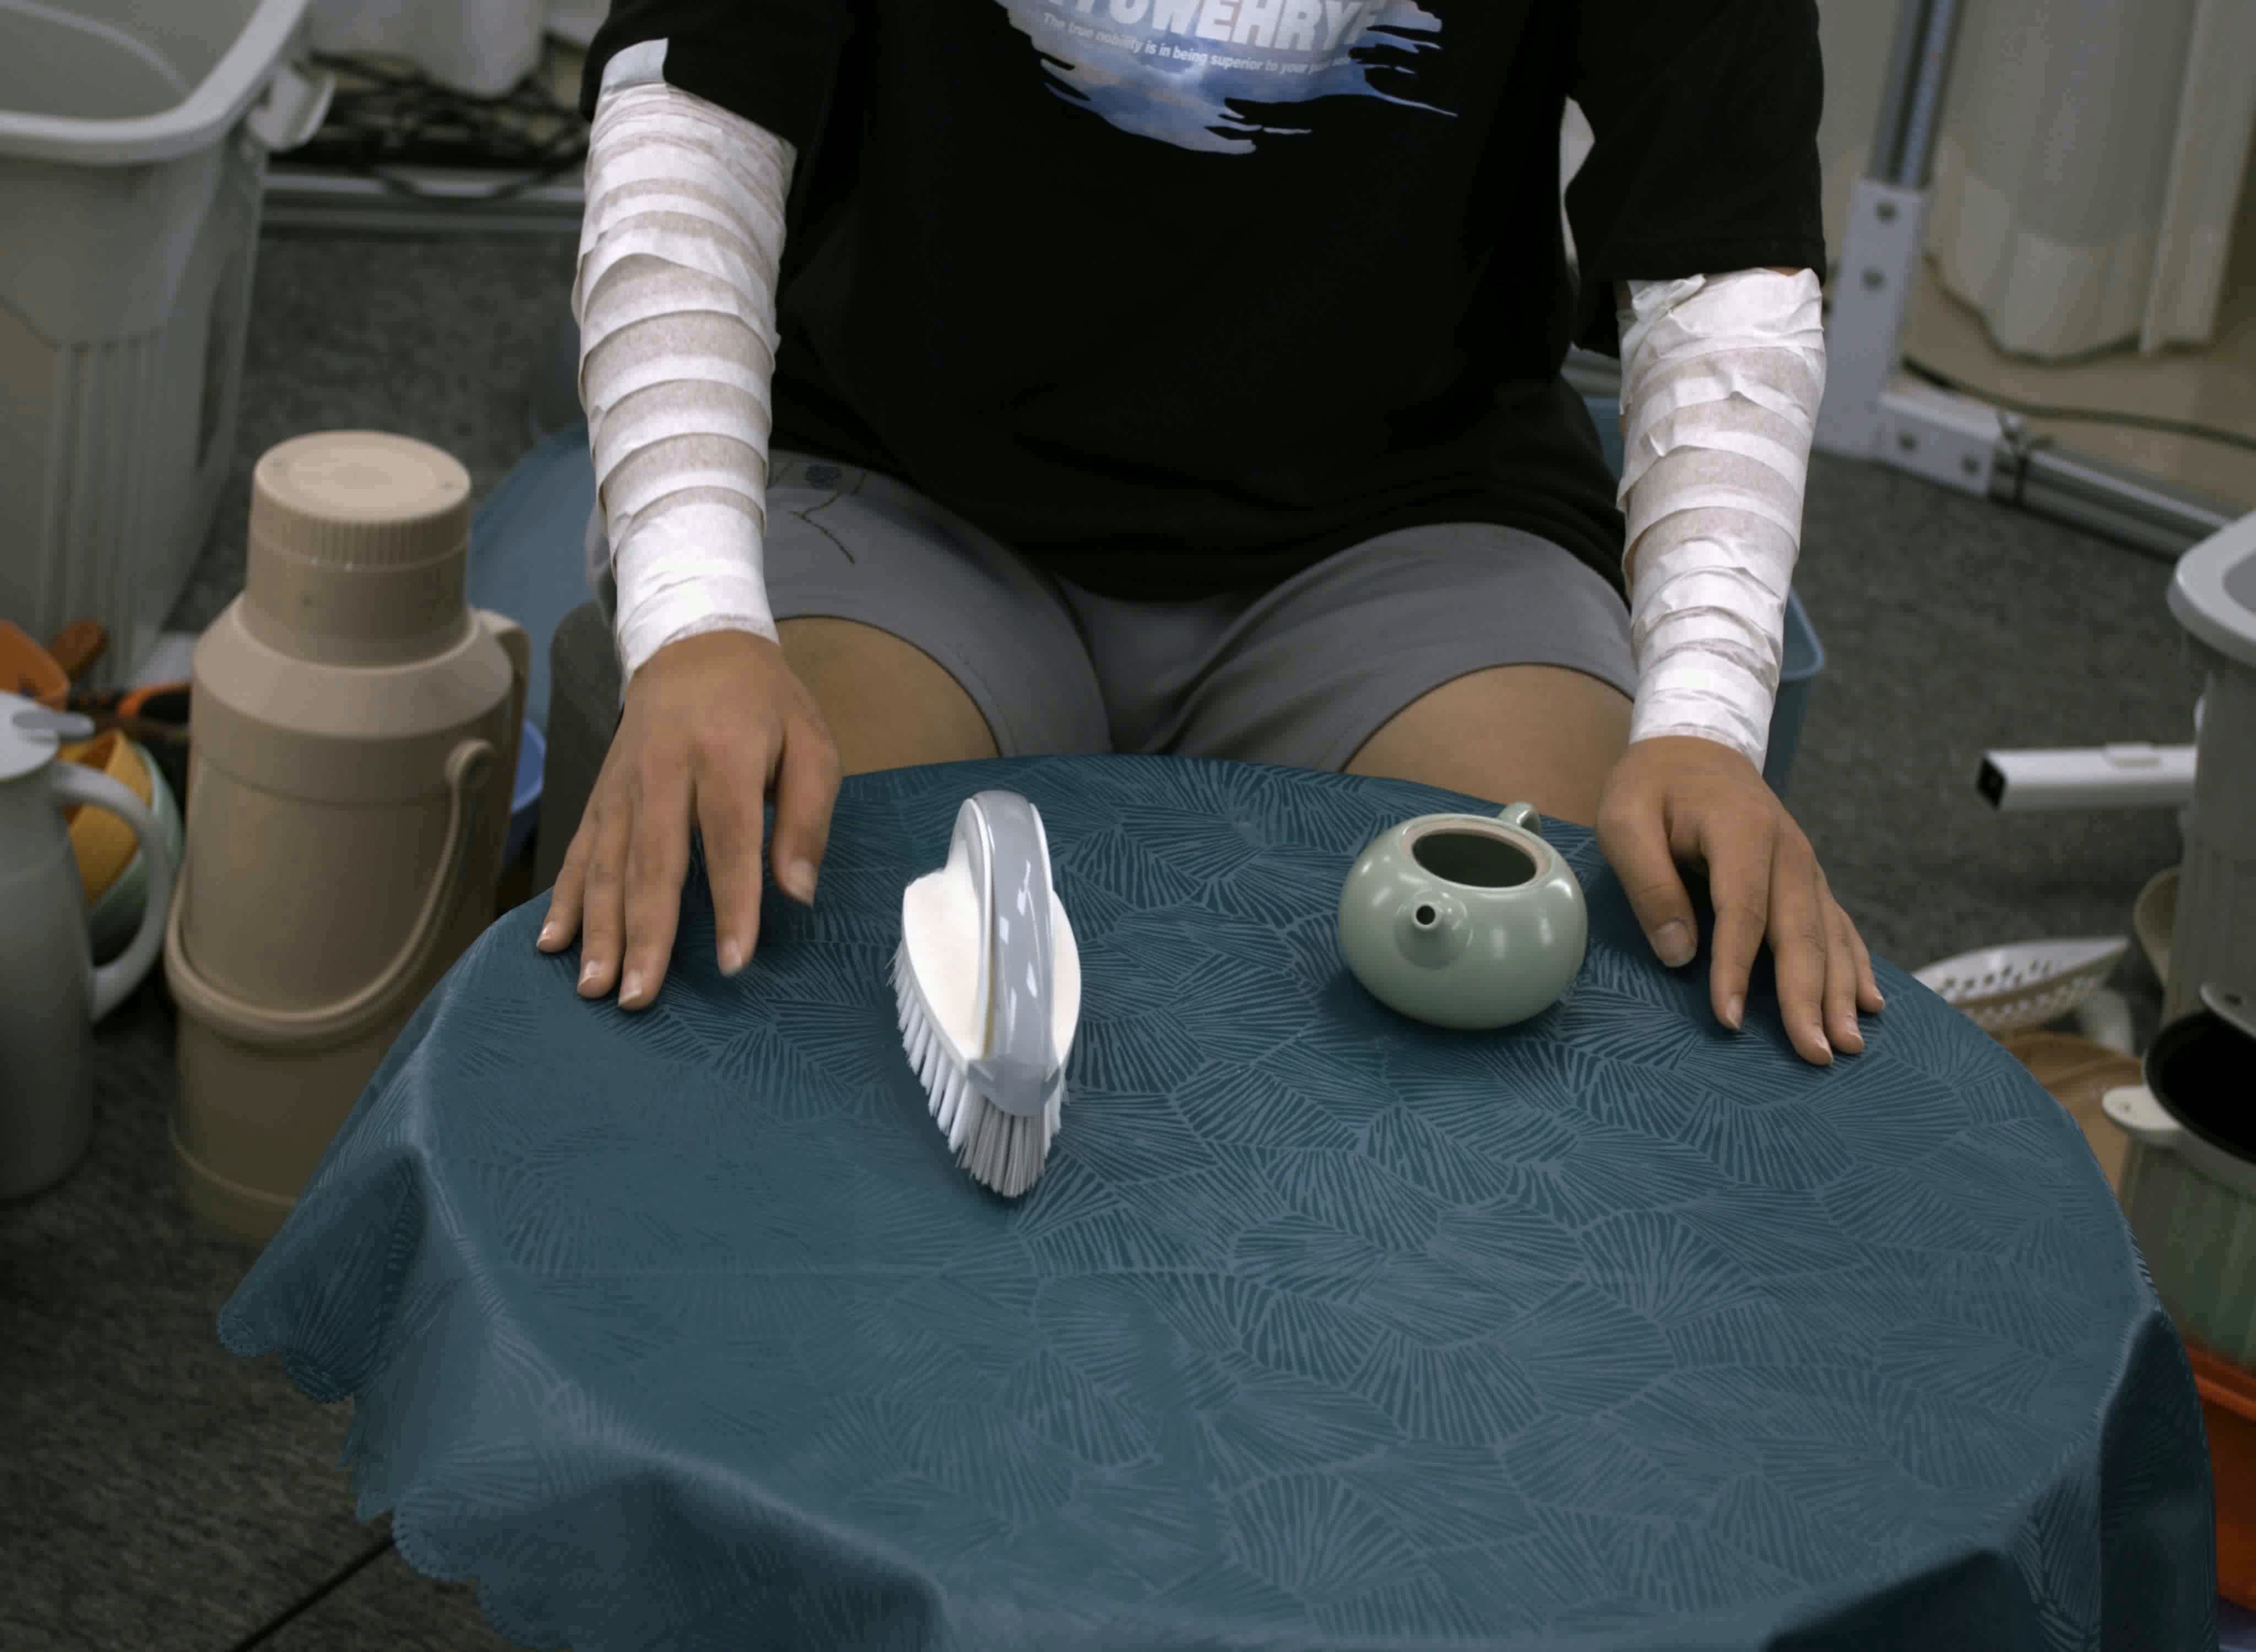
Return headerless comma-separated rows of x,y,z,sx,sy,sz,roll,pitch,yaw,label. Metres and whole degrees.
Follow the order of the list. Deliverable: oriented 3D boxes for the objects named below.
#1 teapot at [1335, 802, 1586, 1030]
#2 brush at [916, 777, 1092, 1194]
0.126,0.032,1.948,0.092,0.061,0.128,16,28,23,teapot
-0.041,0.047,1.845,0.061,0.094,0.177,0,28,-6,brush
